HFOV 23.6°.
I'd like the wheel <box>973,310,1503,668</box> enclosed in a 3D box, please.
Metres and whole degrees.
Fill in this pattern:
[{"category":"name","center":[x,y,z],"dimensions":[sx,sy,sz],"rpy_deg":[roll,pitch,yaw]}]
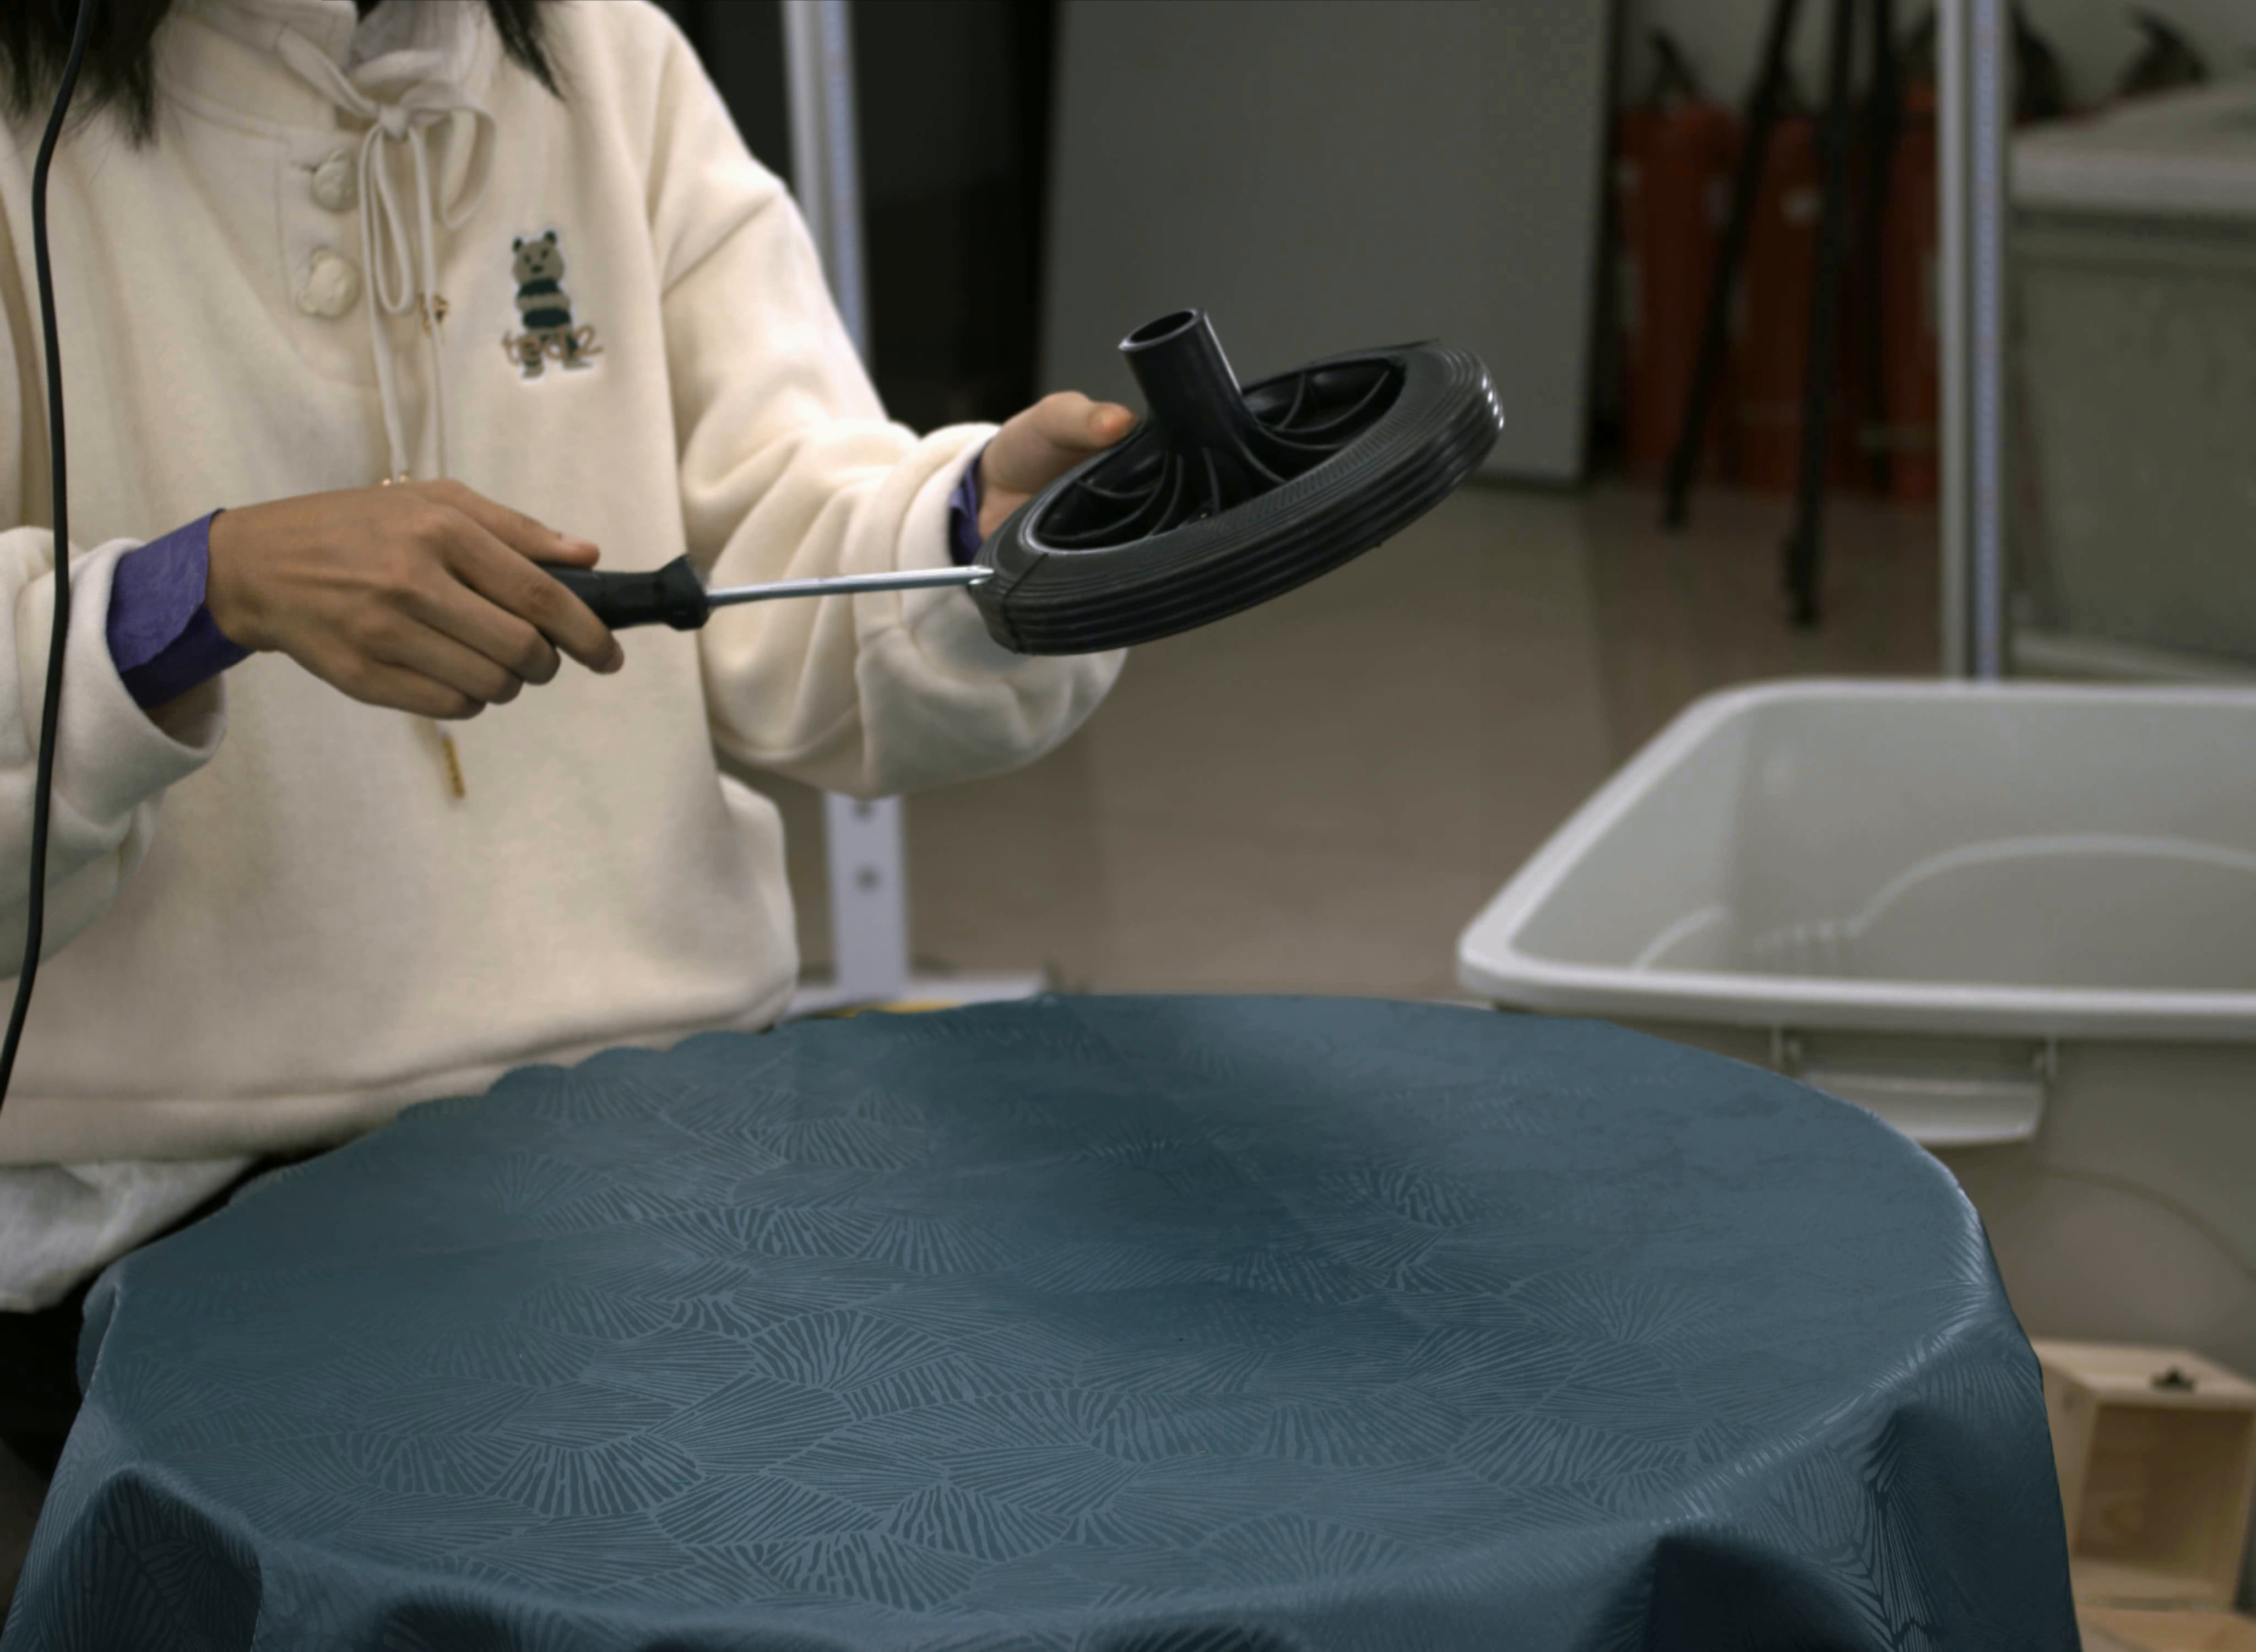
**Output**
[{"category":"wheel","center":[0.027,-0.127,1.778],"dimensions":[0.187,0.079,0.190],"rpy_deg":[-21,21,13]}]

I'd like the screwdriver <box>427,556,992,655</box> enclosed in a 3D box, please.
[{"category":"screwdriver","center":[-0.139,-0.081,1.795],"dimensions":[0.195,0.032,0.031],"rpy_deg":[-9,12,14]}]
